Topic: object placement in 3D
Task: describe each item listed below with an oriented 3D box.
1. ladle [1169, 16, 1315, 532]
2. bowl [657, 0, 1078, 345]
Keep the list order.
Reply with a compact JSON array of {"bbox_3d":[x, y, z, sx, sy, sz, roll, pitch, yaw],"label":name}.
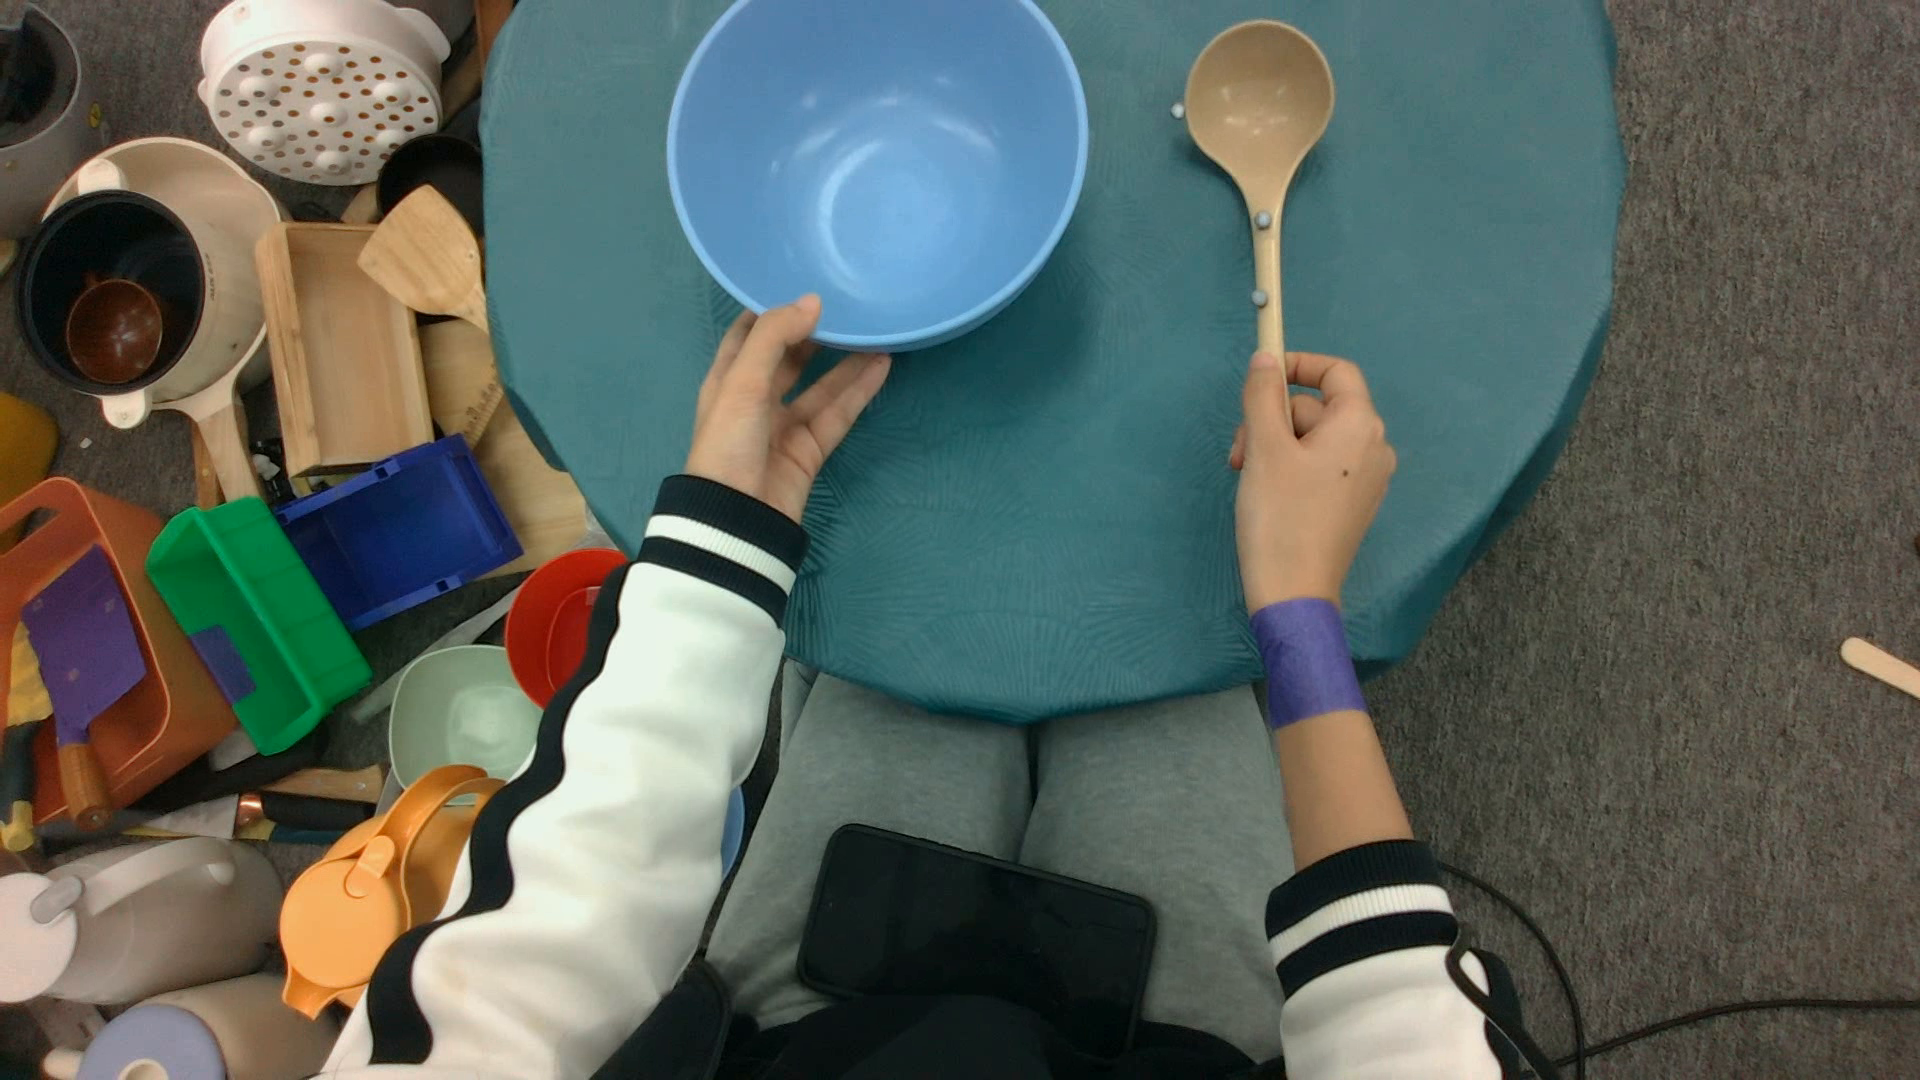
[{"bbox_3d":[0.140,-0.134,0.649,0.072,0.072,0.255,-6,65,15],"label":"ladle"},{"bbox_3d":[-0.042,-0.180,0.684,0.196,0.095,0.197,0,80,2],"label":"bowl"}]
